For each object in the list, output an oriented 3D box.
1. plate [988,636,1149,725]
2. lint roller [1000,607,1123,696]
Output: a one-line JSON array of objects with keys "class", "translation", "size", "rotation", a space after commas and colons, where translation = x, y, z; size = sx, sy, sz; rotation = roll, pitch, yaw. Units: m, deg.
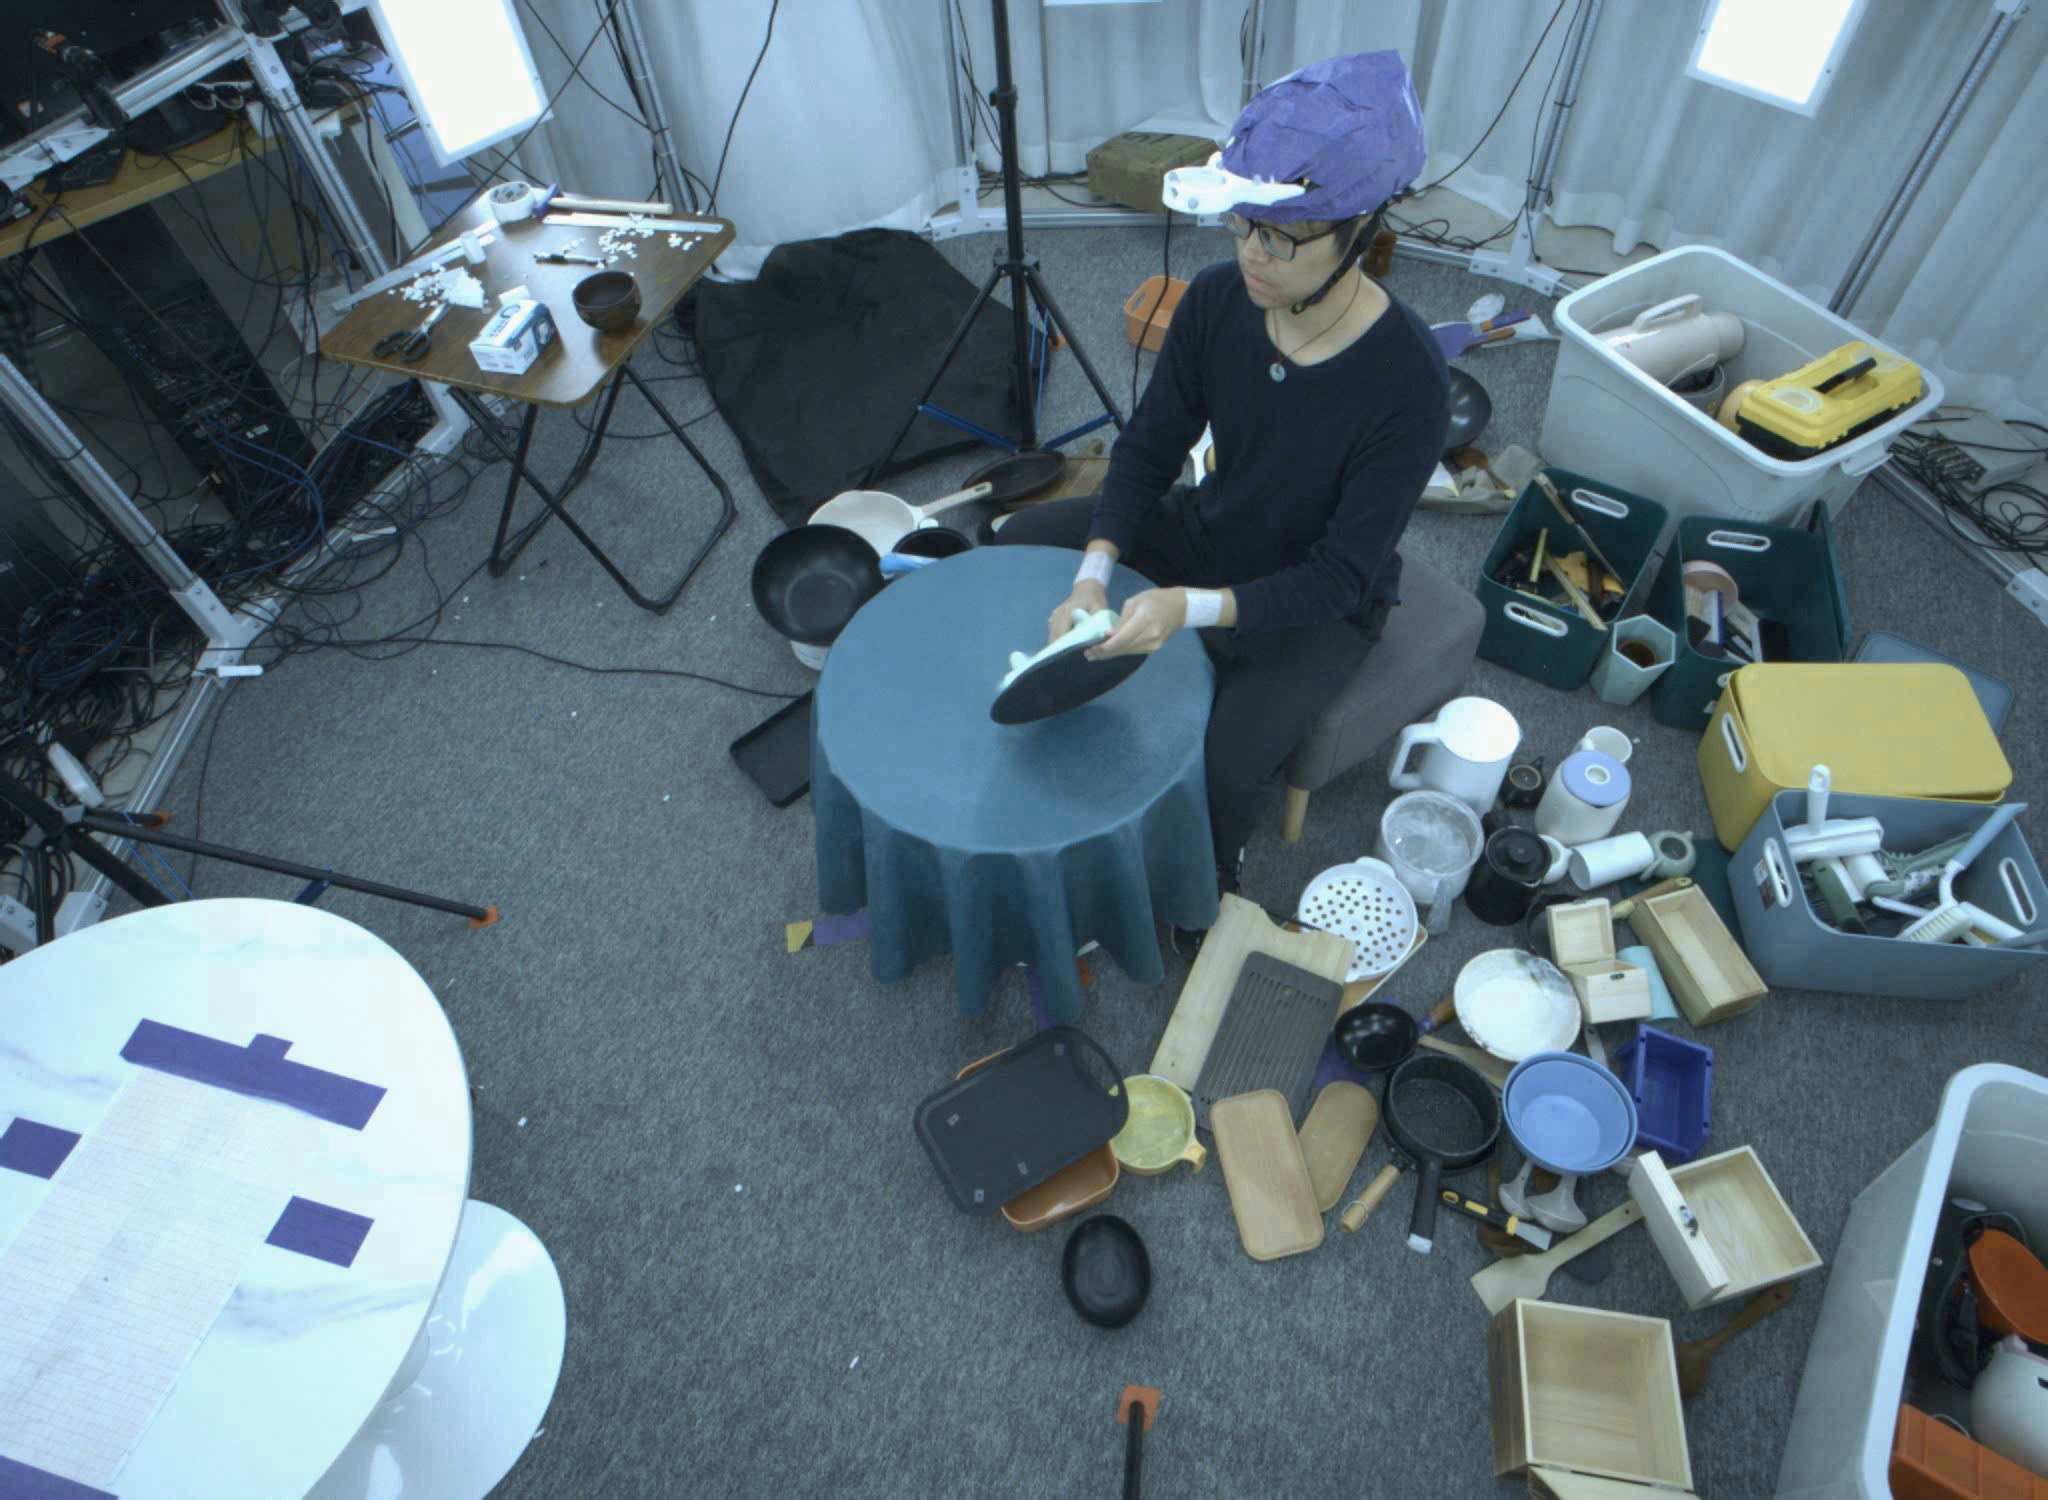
[{"class": "plate", "translation": [0.058, -0.102, 1.711], "size": [0.246, 0.245, 0.023], "rotation": [-22, 75, -11]}, {"class": "lint roller", "translation": [0.053, -0.169, 1.783], "size": [0.196, 0.083, 0.182], "rotation": [-33, 27, 26]}]
